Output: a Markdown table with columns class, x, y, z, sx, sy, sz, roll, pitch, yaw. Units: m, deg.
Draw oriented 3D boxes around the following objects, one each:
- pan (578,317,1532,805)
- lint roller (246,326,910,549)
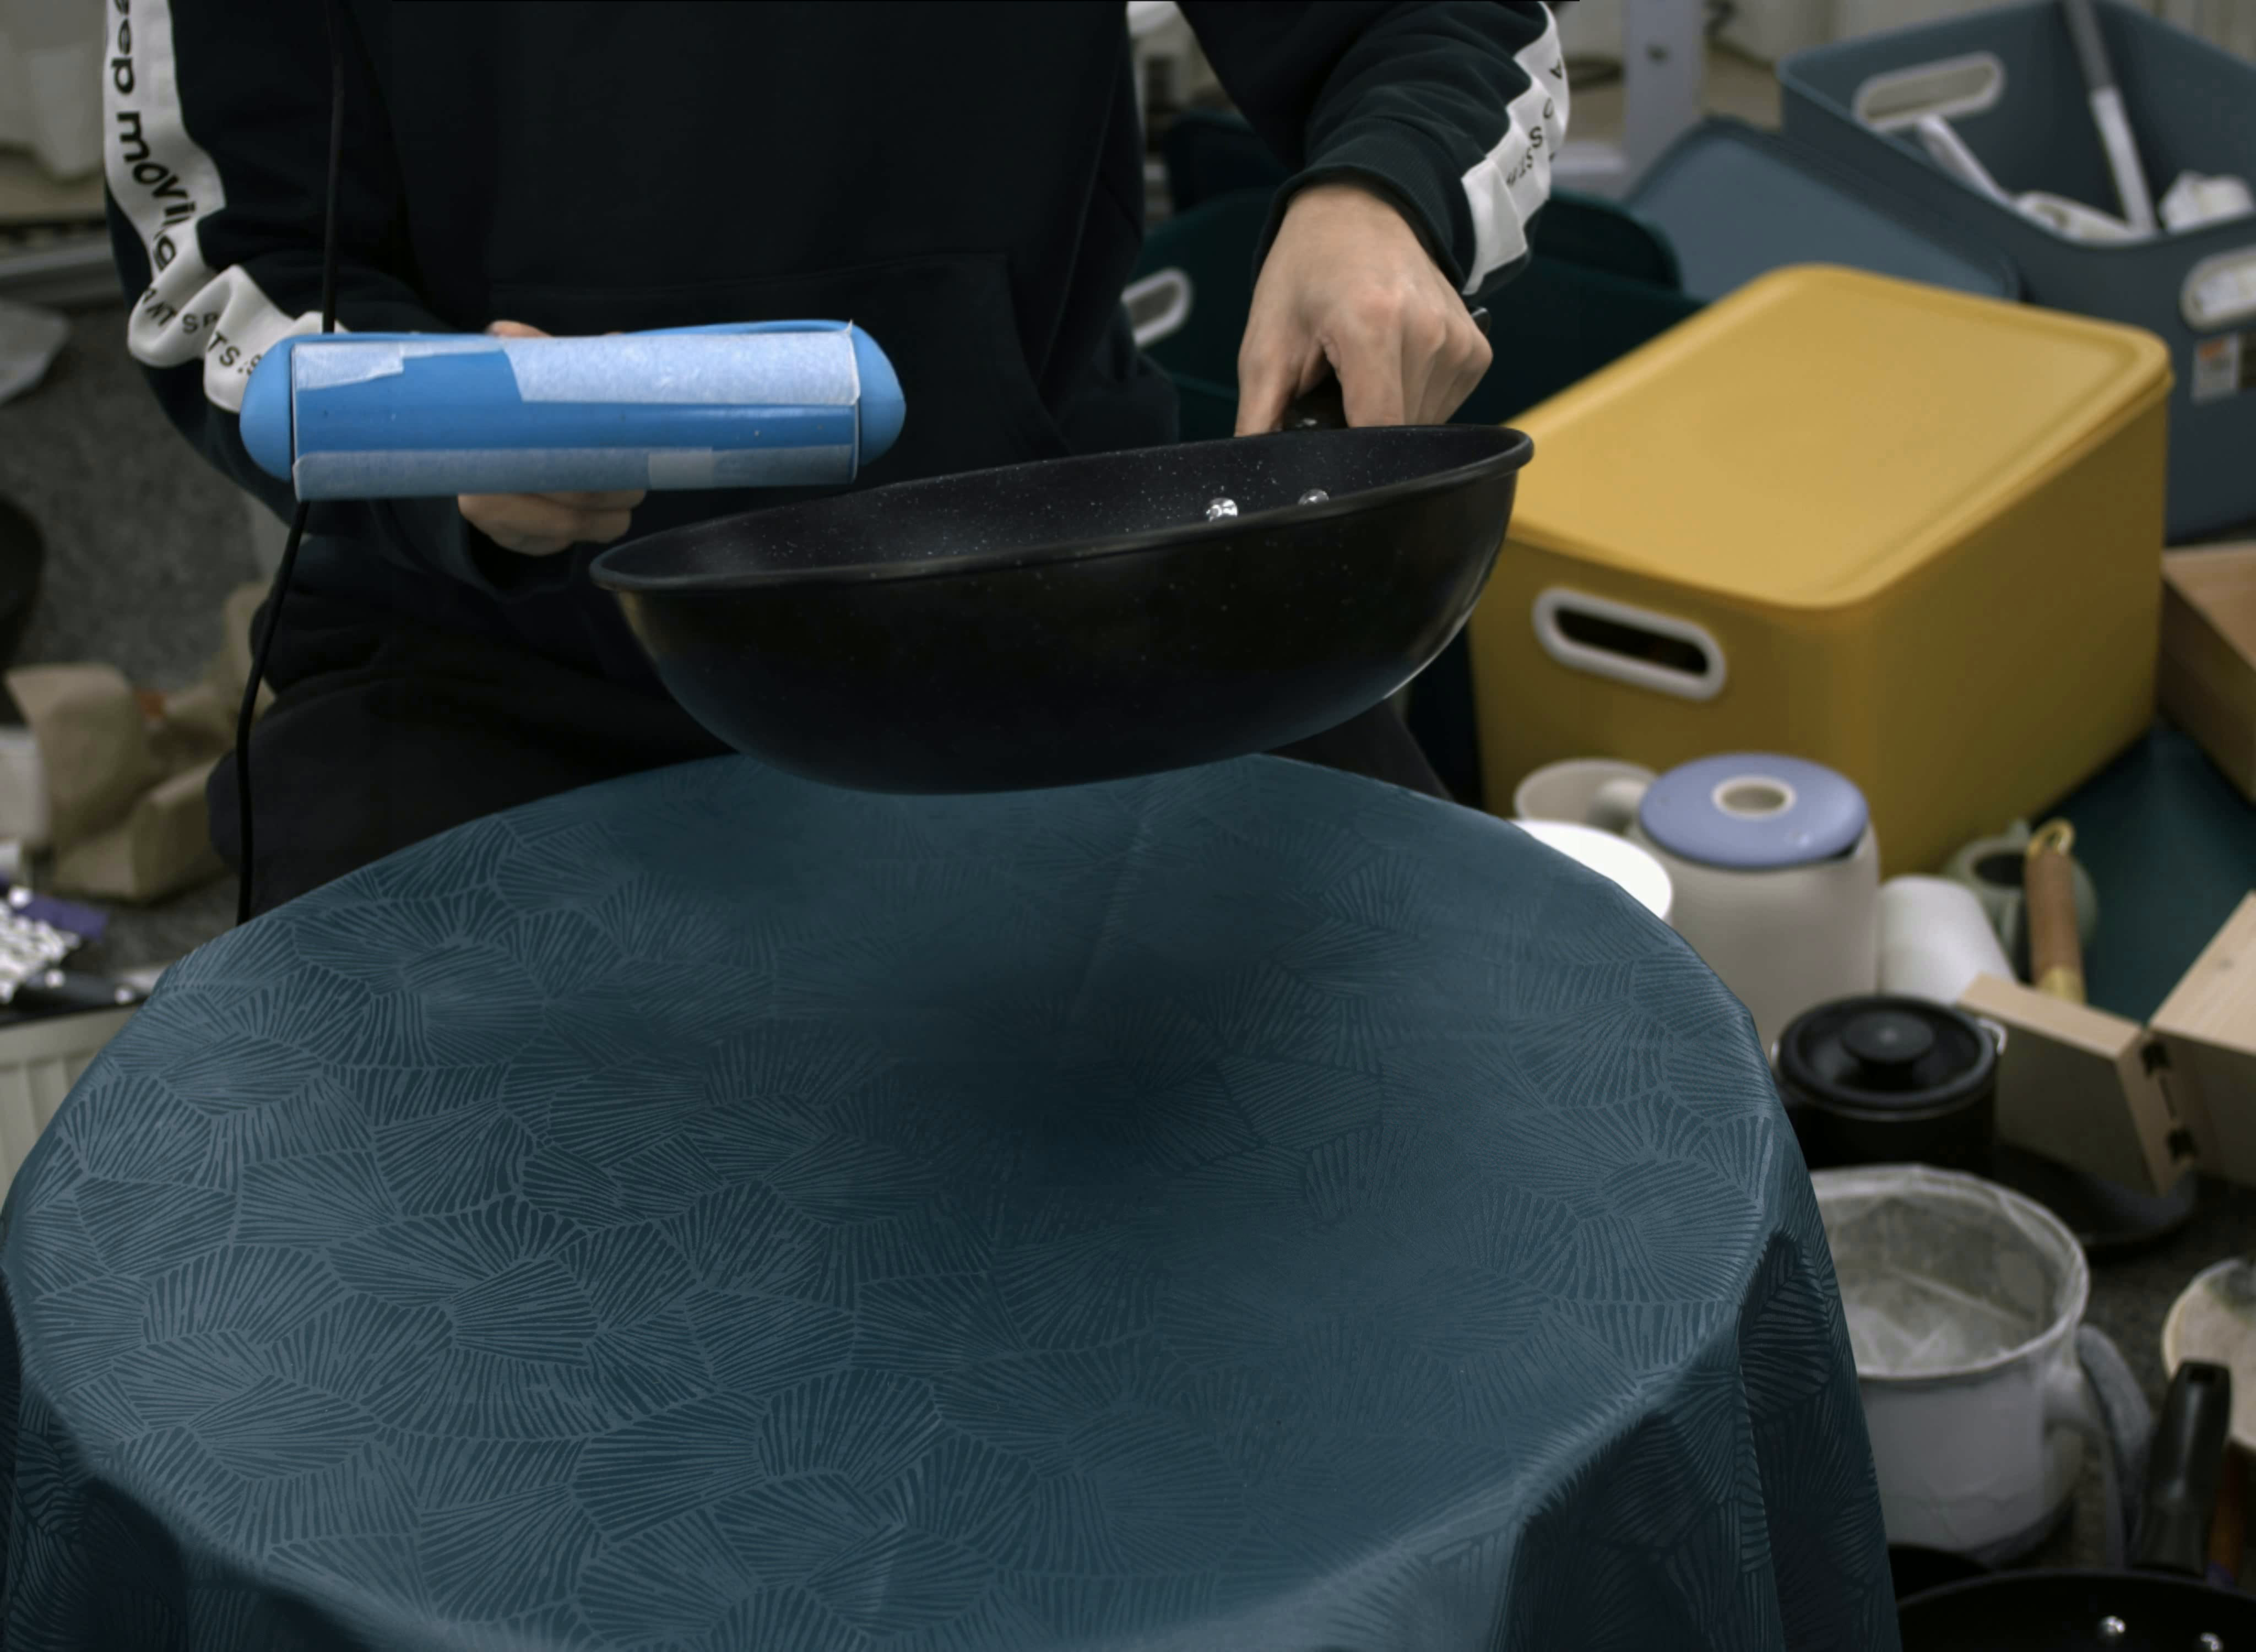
| class | x | y | z | sx | sy | sz | roll | pitch | yaw |
| --- | --- | --- | --- | --- | --- | --- | --- | --- | --- |
| pan | 0.018 | -0.090 | 1.894 | 0.307 | 0.111 | 0.481 | -2 | 10 | 28 |
| lint roller | -0.200 | -0.139 | 1.998 | 0.229 | 0.068 | 0.179 | -4 | -2 | -12 |
